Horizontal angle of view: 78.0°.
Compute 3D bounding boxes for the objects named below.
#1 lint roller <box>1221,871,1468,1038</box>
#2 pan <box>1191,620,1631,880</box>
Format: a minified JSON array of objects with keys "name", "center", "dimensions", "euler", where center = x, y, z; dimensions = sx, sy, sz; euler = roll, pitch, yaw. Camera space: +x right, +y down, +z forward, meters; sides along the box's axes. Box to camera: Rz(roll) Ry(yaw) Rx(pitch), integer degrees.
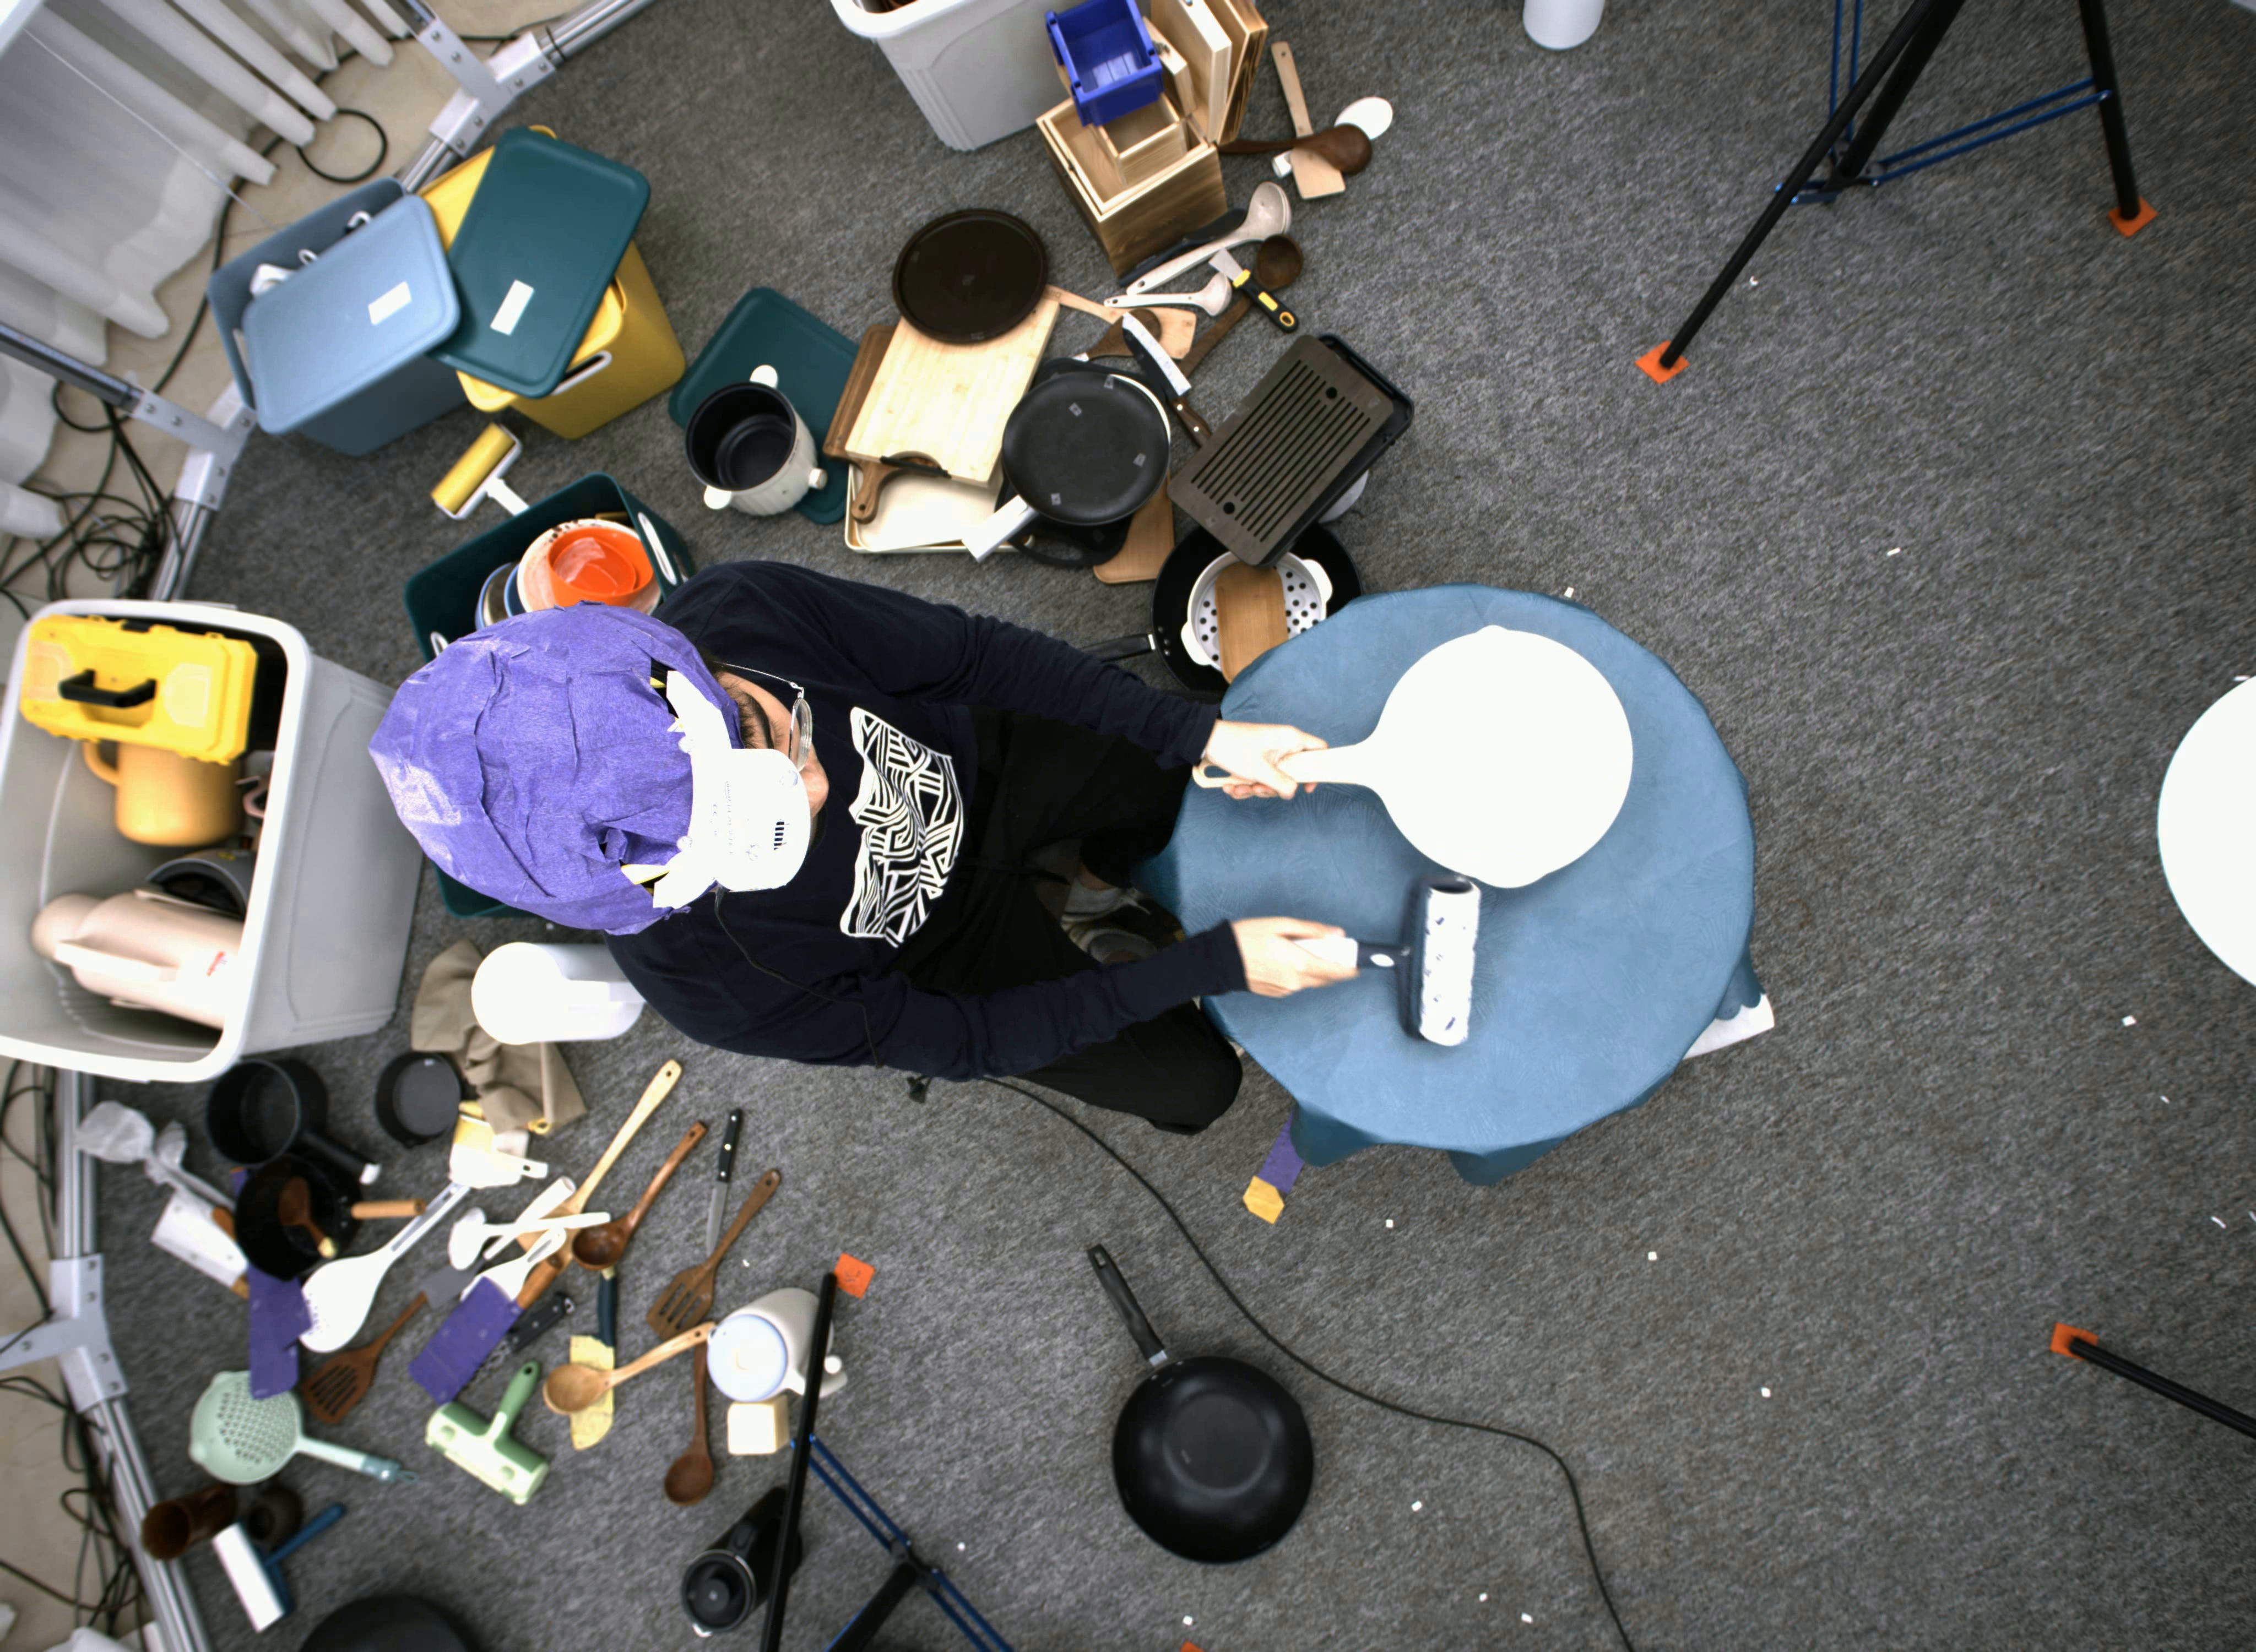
[{"name":"lint roller","center":[0.215,0.126,1.402],"dimensions":[0.248,0.049,0.179],"euler":[2,114,13]},{"name":"pan","center":[0.285,-0.068,1.410],"dimensions":[0.437,0.102,0.262],"euler":[-5,87,9]}]
